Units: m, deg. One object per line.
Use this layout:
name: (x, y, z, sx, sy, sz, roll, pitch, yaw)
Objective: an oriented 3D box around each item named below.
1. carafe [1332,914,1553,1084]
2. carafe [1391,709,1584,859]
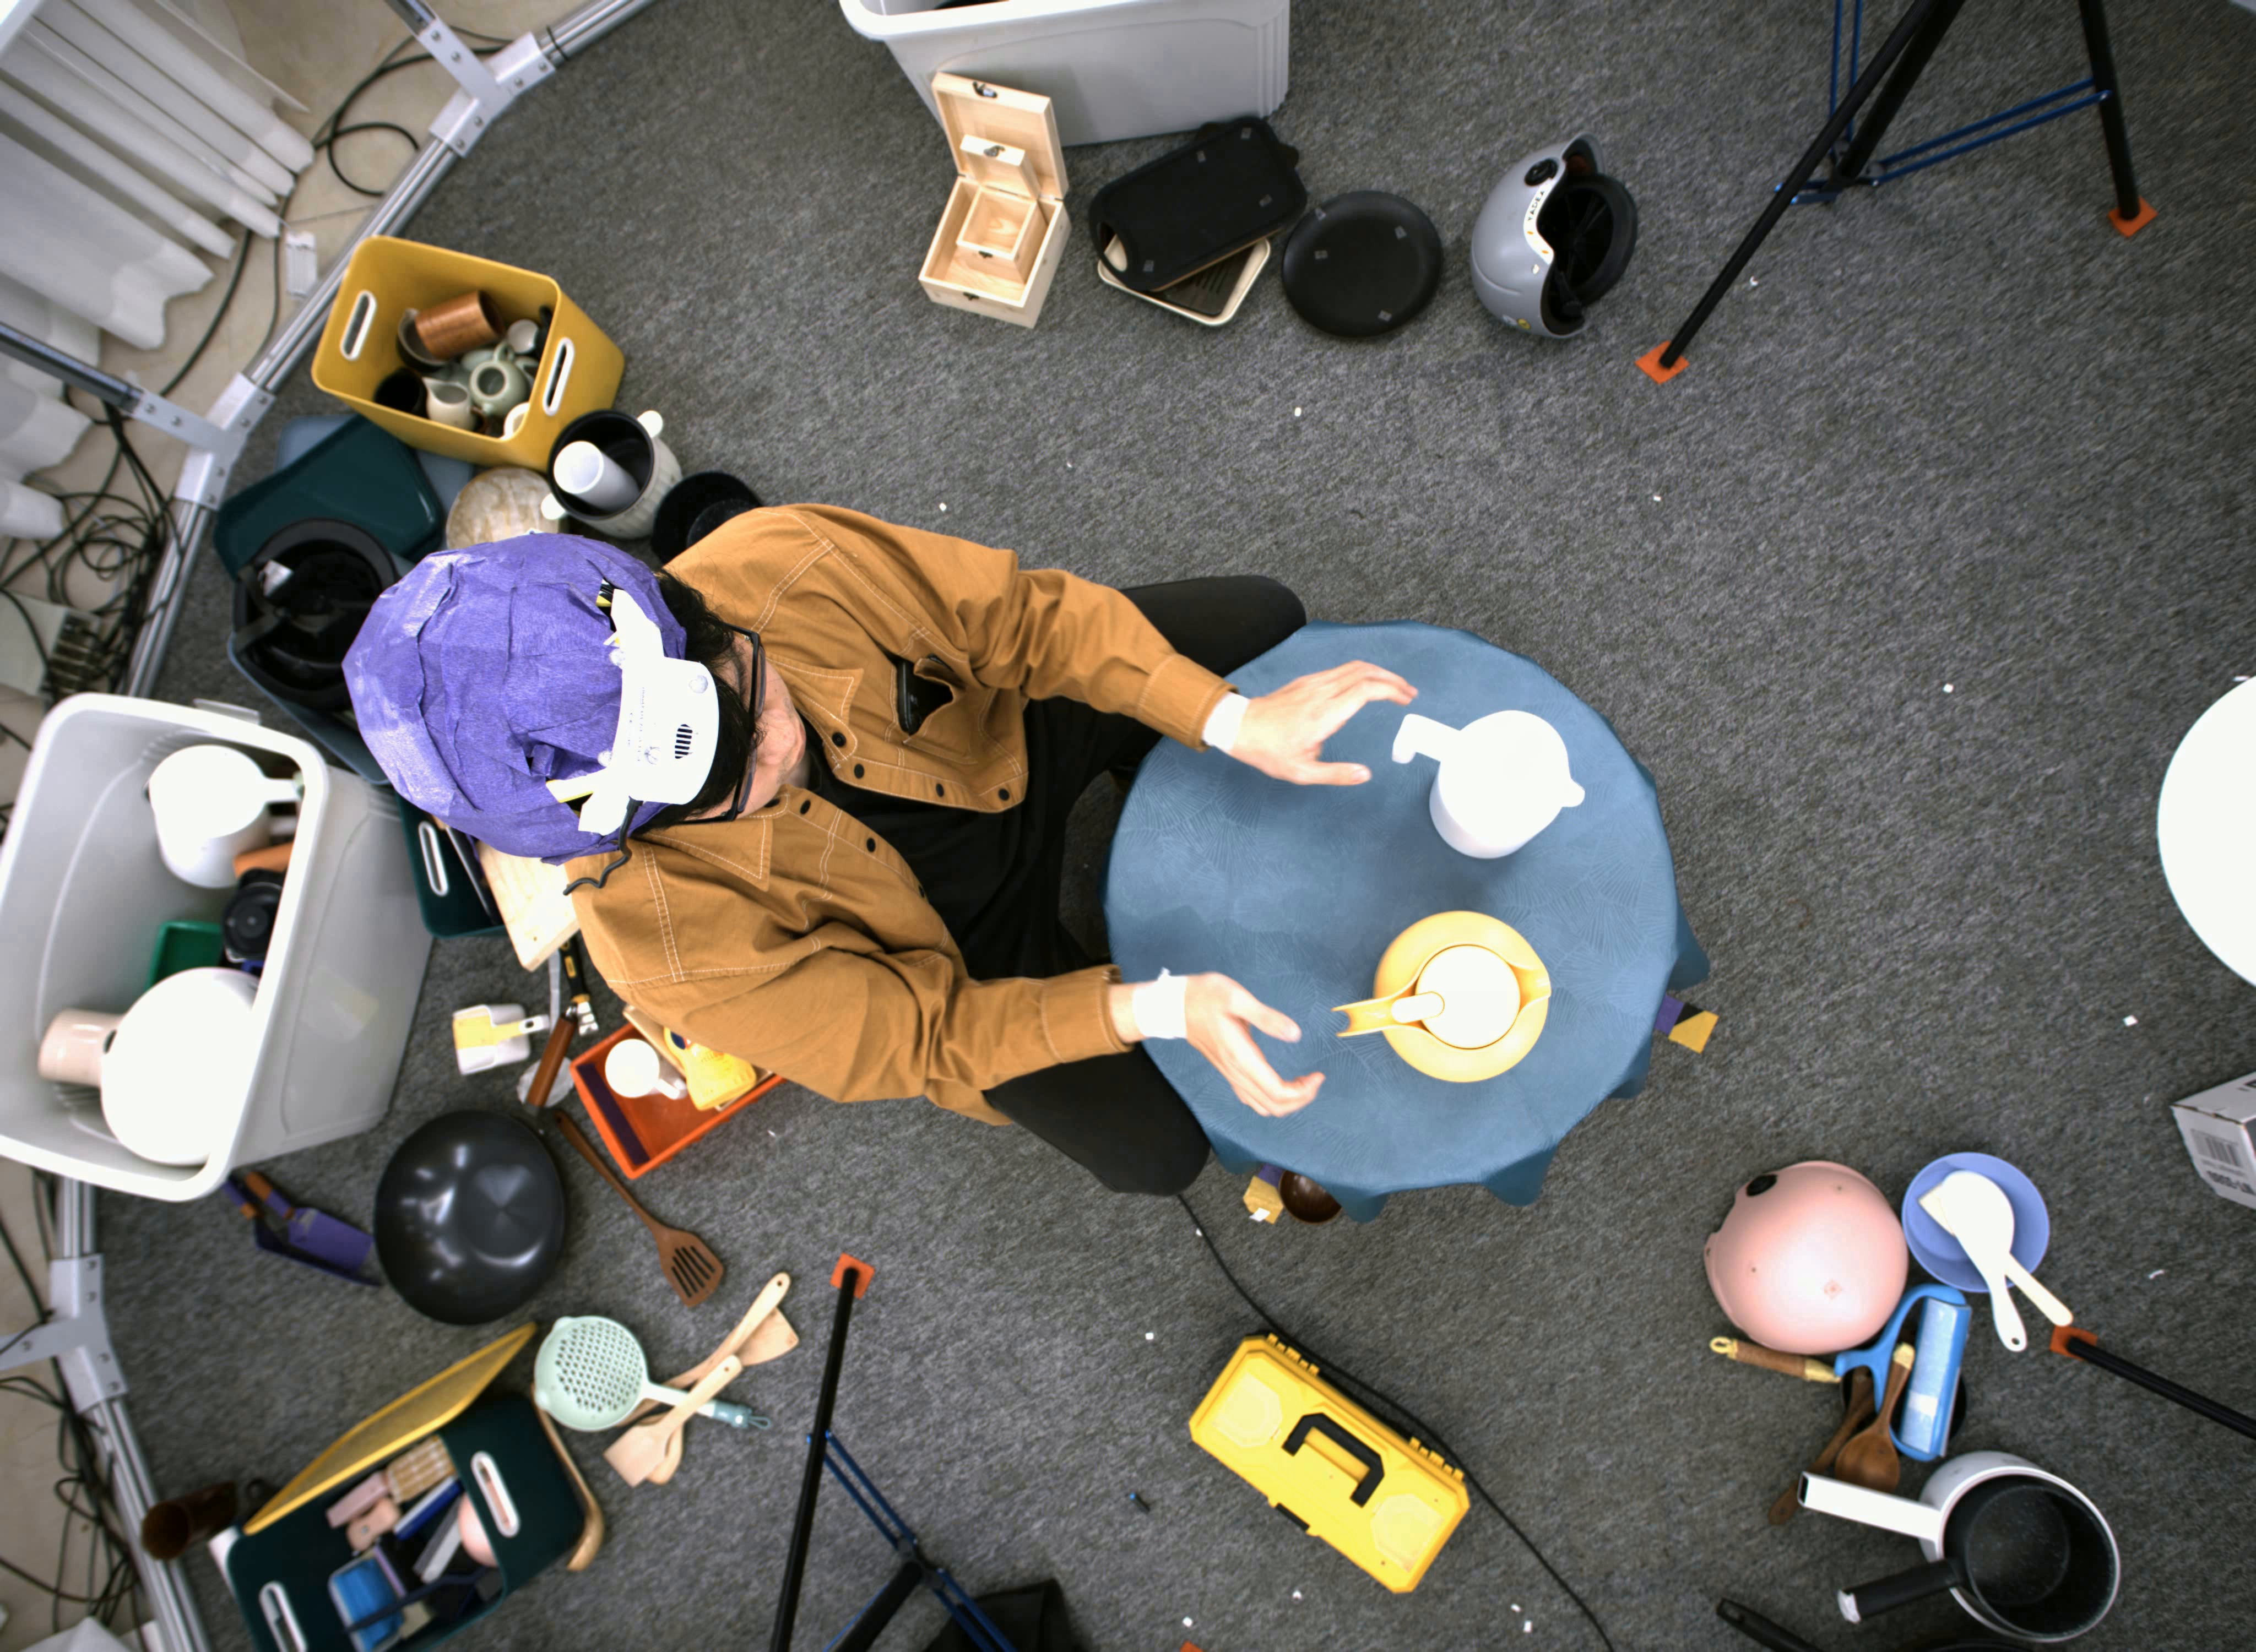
carafe: (0.297, 0.165, 1.318, 0.203, 0.261, 0.162, -10, 80, 8)
carafe: (0.337, -0.044, 1.318, 0.173, 0.268, 0.124, 23, 91, 12)
